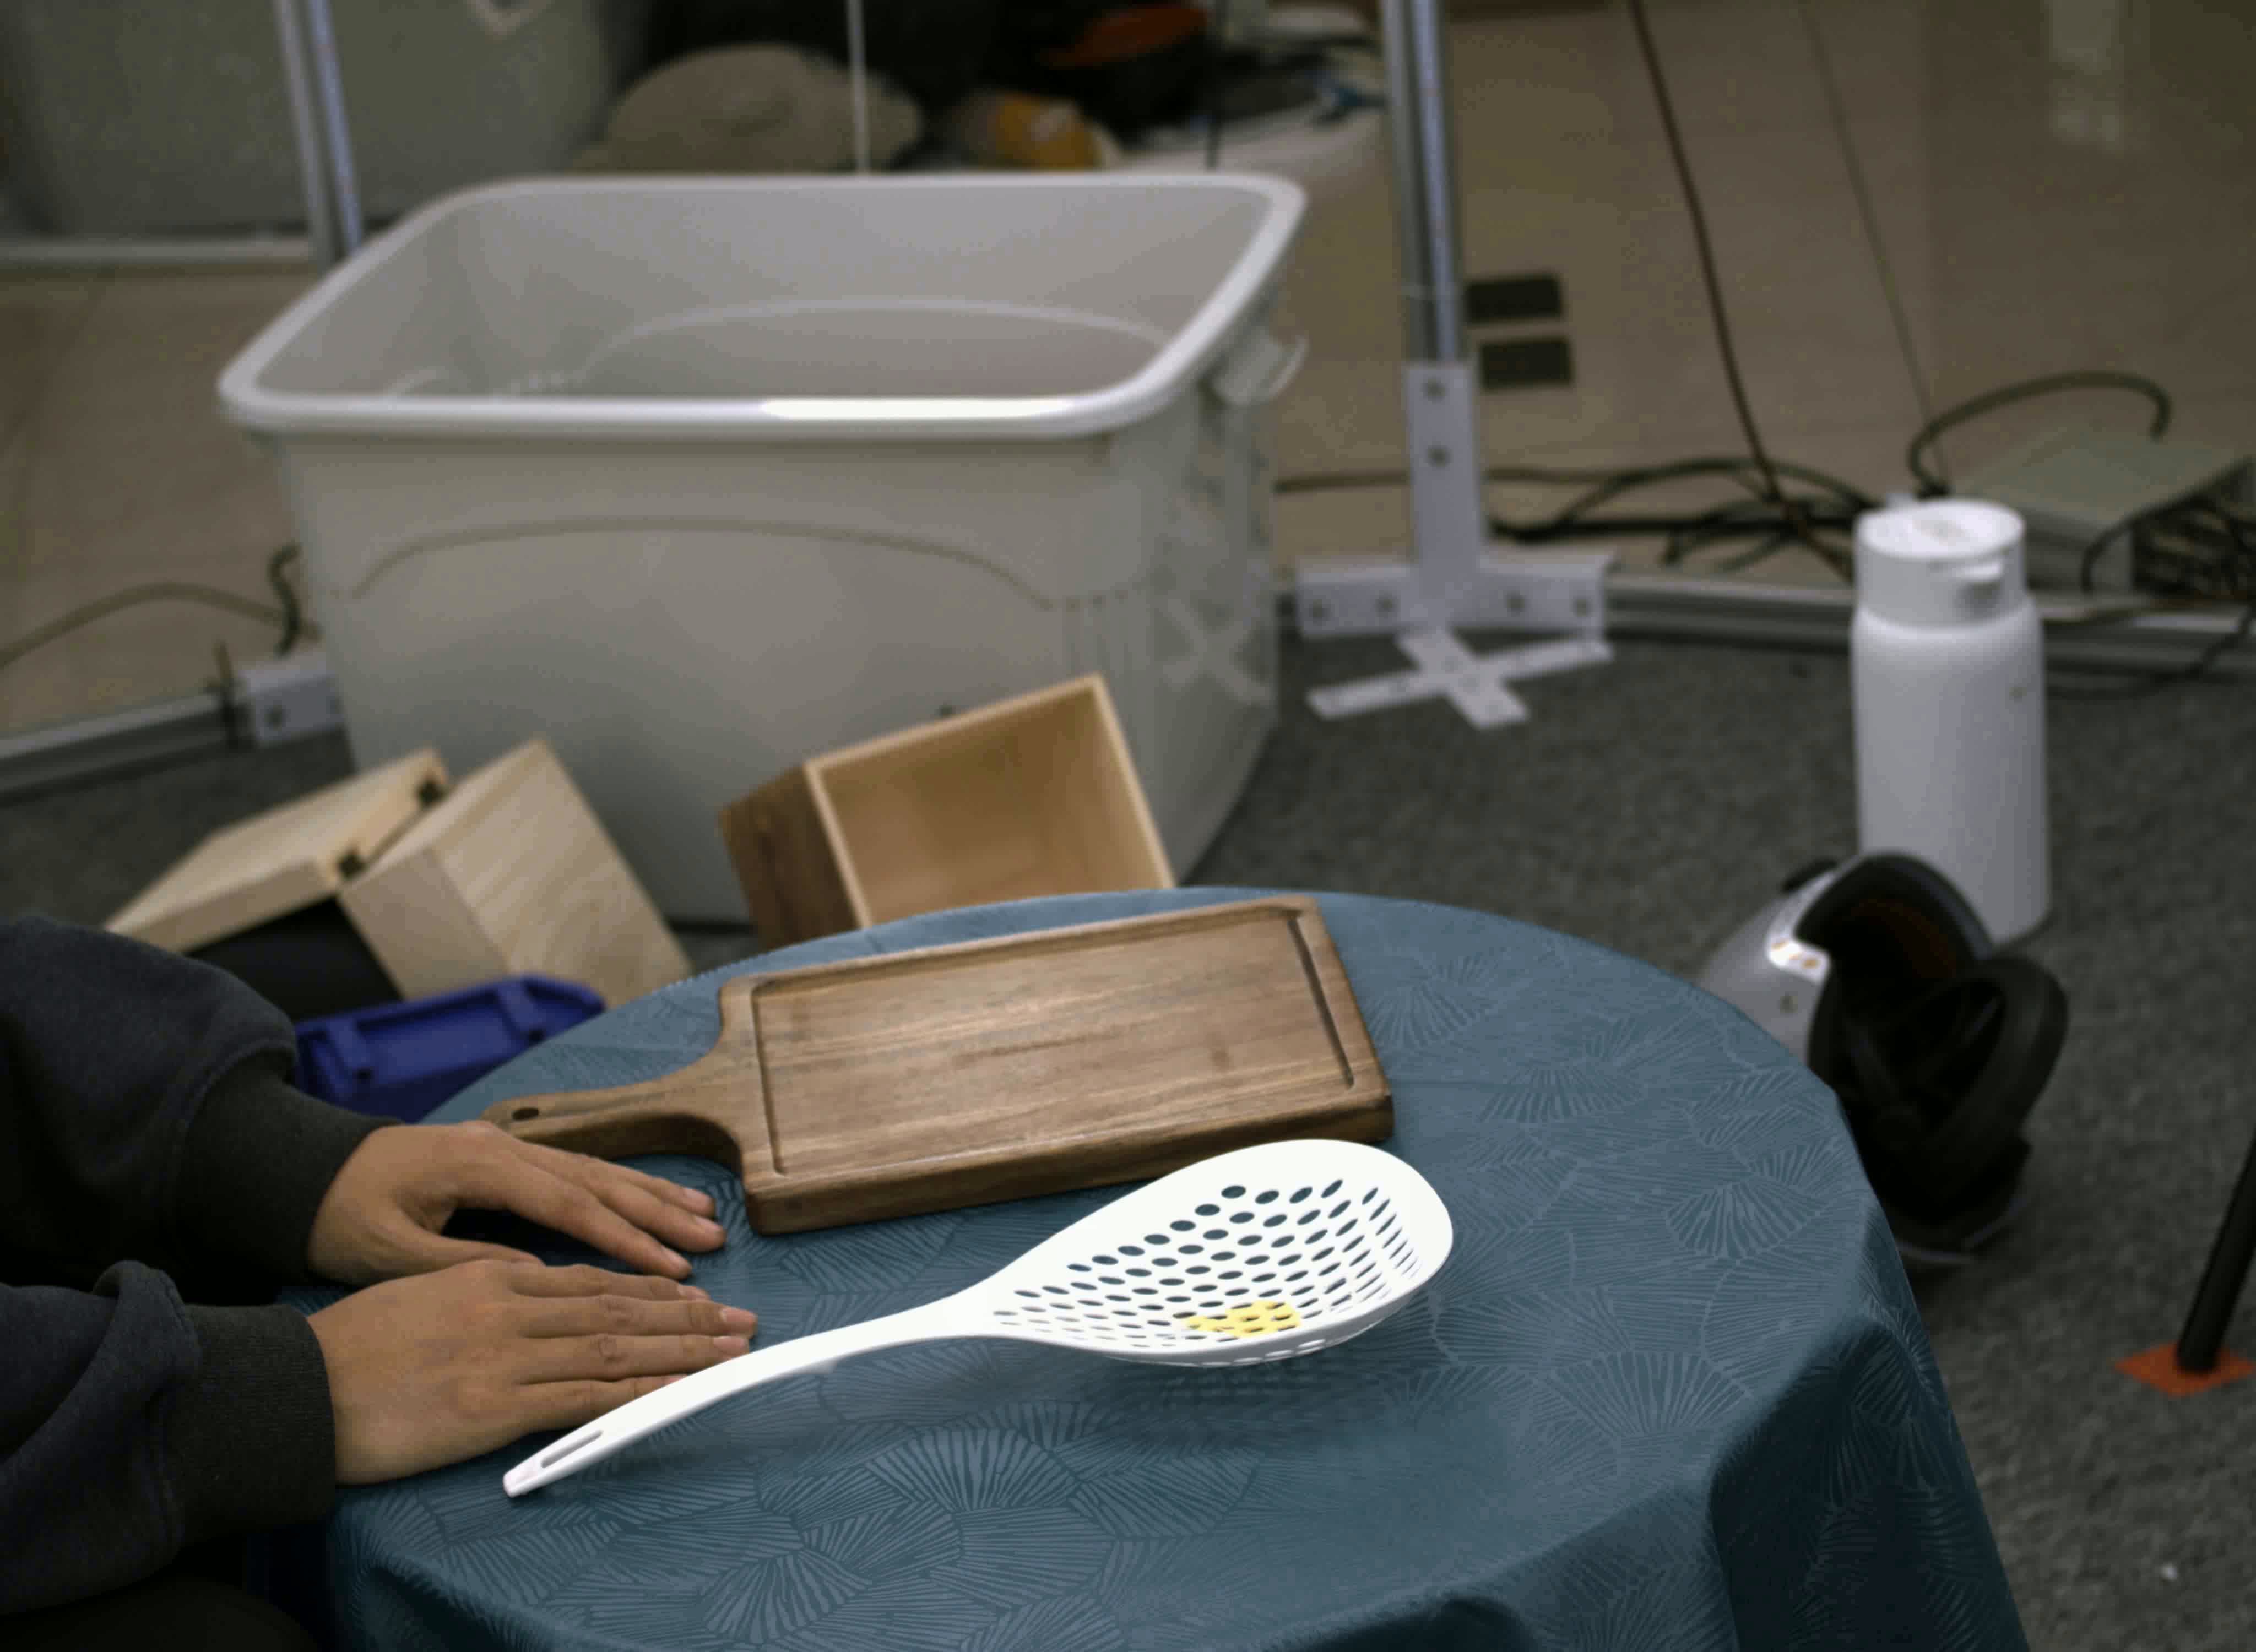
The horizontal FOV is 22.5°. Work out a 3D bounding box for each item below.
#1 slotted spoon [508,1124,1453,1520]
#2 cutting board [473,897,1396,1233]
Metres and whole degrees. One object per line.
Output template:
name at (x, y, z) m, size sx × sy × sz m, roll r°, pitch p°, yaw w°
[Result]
slotted spoon at (-0.054, 0.183, 2.015) m, size 0.347 × 0.051 × 0.135 m, roll -11°, pitch 28°, yaw -10°
cutting board at (-0.082, 0.098, 2.231) m, size 0.351 × 0.023 × 0.198 m, roll -8°, pitch 24°, yaw -4°
